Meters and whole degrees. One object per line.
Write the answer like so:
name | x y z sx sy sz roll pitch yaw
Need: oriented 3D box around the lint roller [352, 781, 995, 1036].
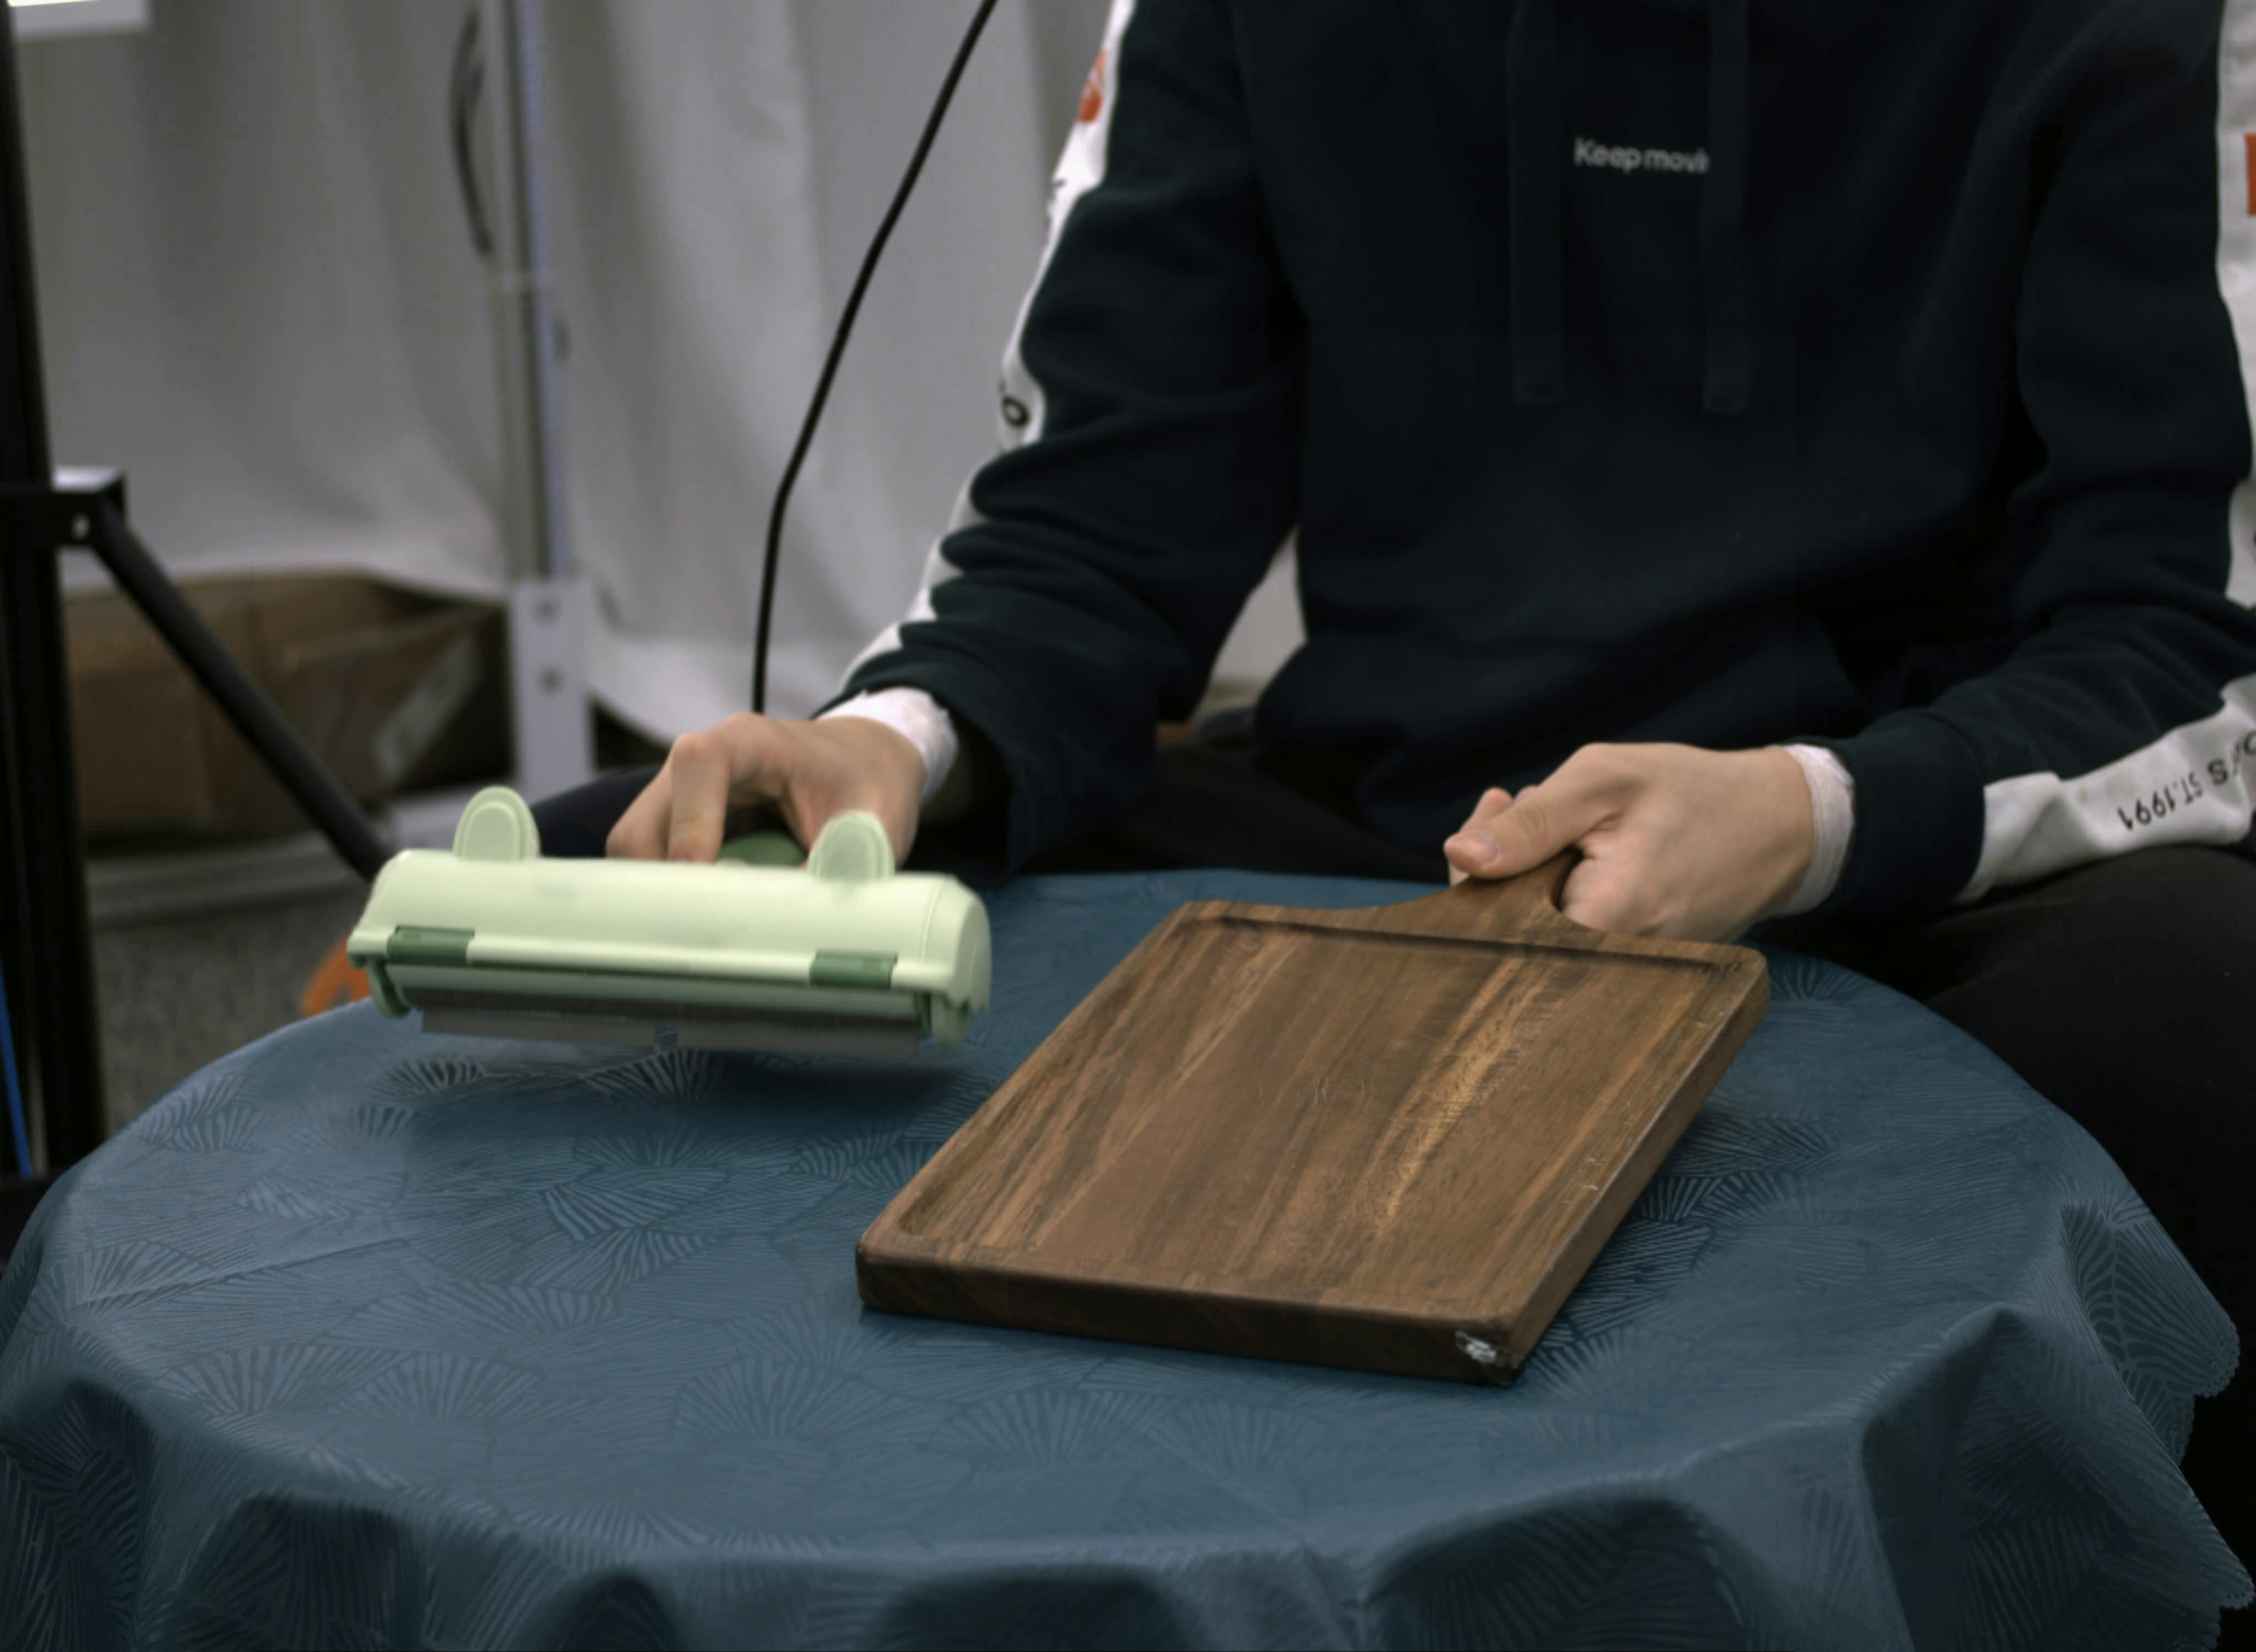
lint roller | -0.130 0.009 1.717 0.200 0.082 0.182 1 21 14

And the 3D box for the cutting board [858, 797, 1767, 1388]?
cutting board | 0.077 0.067 1.575 0.204 0.023 0.348 5 24 23
